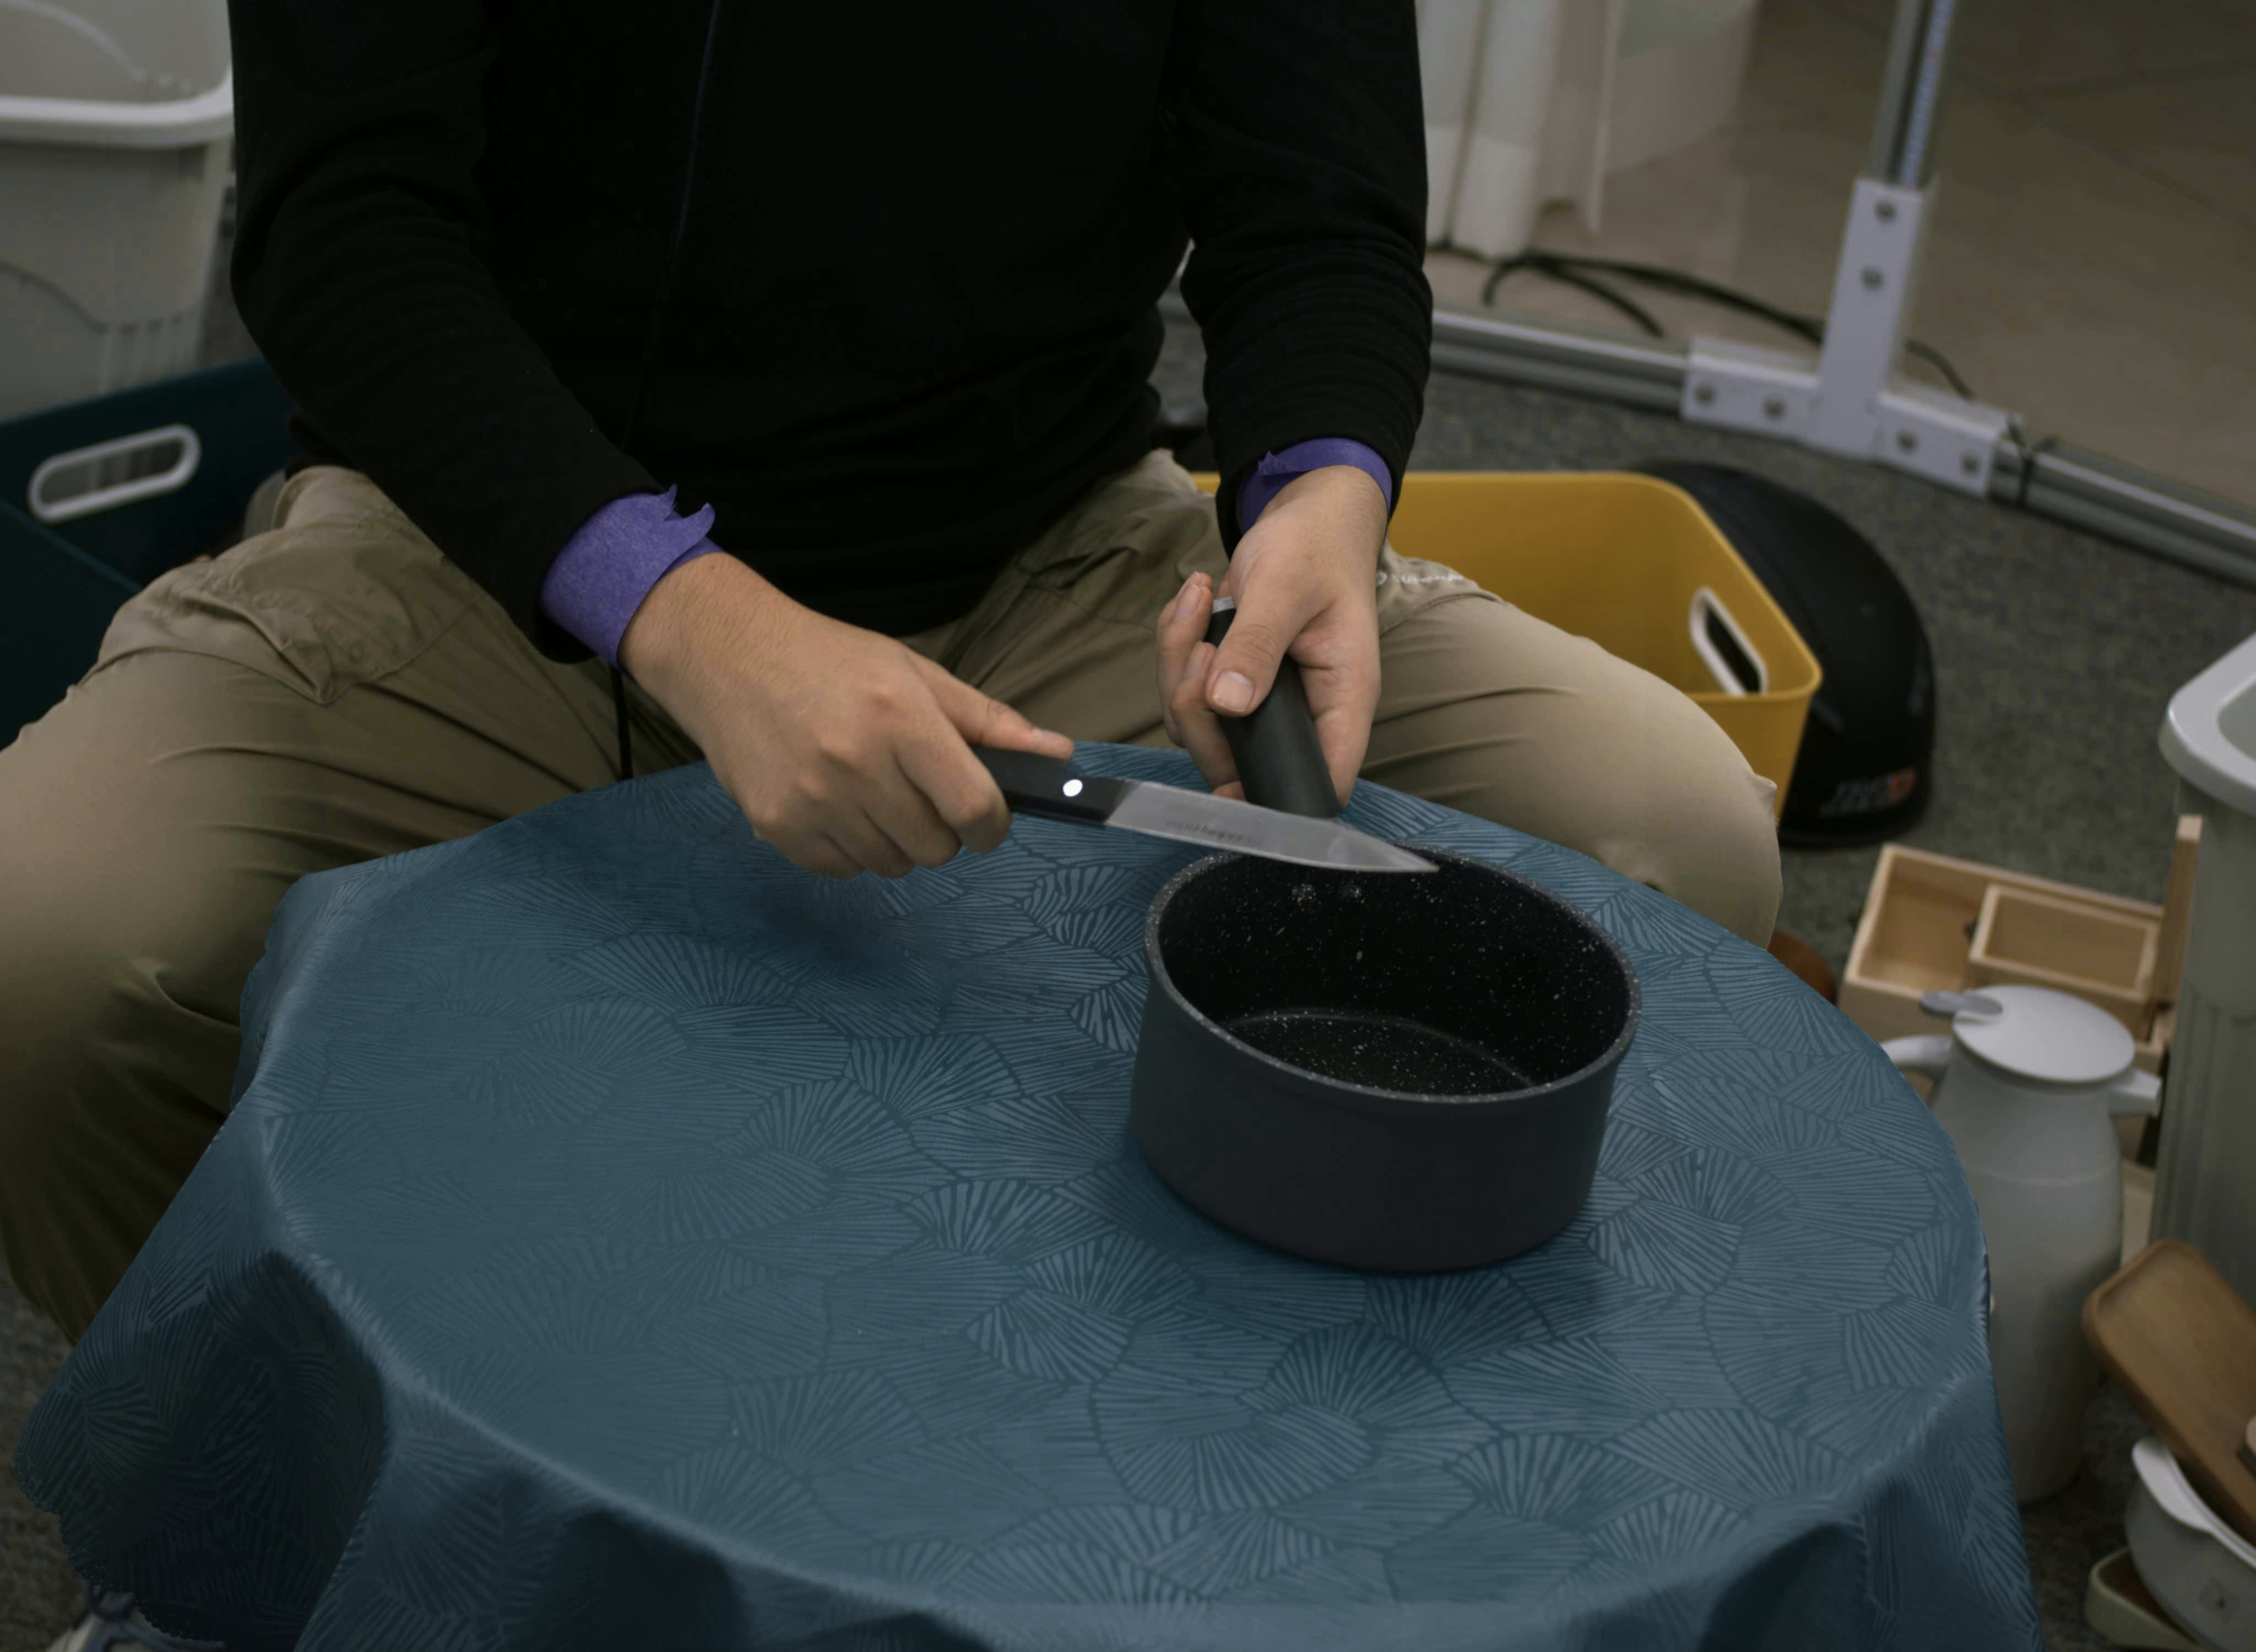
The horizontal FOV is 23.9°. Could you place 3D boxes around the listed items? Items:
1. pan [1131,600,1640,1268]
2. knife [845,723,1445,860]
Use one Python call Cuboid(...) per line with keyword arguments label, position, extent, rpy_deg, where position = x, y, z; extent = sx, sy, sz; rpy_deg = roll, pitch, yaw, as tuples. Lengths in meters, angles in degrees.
Cuboid(label="pan", position=(0.072, 0.034, 1.889), extent=(0.171, 0.086, 0.331), rpy_deg=(2, 31, -11))
Cuboid(label="knife", position=(0.002, -0.008, 1.880), extent=(0.239, 0.016, 0.024), rpy_deg=(11, 52, 26))
